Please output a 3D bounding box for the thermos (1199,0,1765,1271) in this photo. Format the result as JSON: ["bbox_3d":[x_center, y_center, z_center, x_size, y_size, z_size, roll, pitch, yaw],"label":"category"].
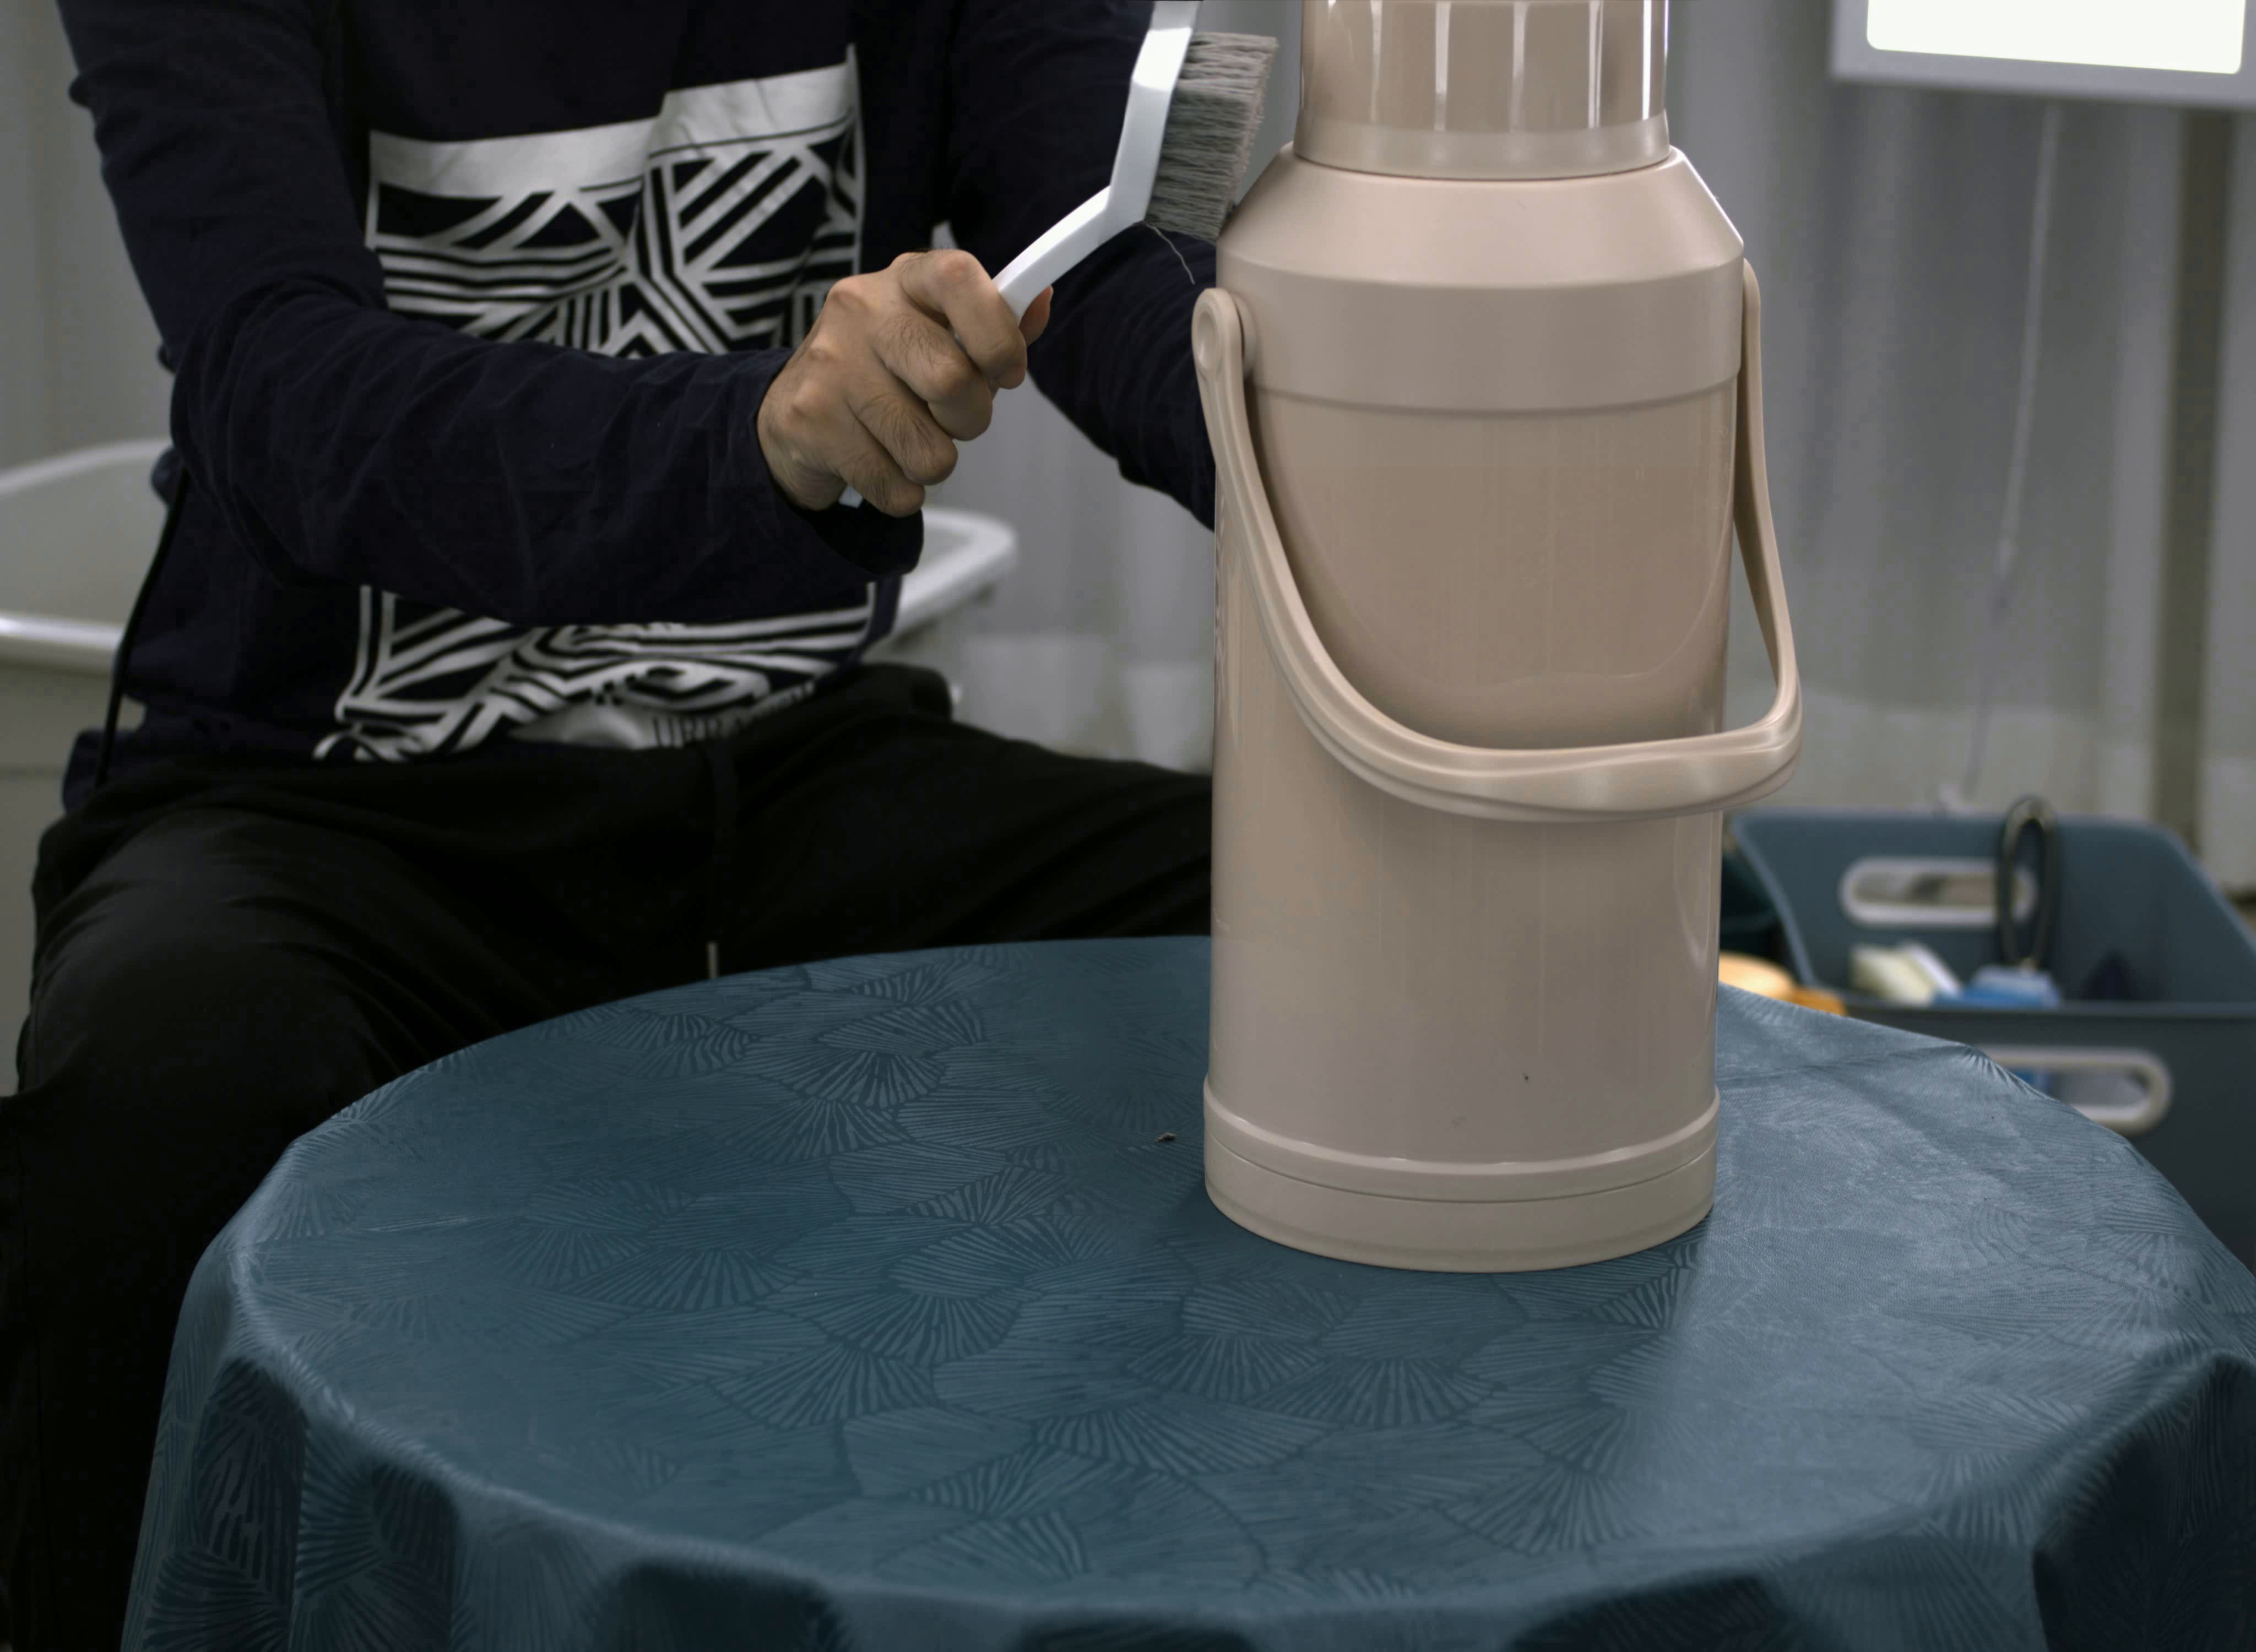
[{"bbox_3d":[0.102,-0.083,1.590,0.176,0.410,0.204,-8,18,-22],"label":"thermos"}]

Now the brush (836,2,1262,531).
[{"bbox_3d":[-0.022,-0.159,1.593,0.050,0.244,0.034,23,47,-14],"label":"brush"}]
